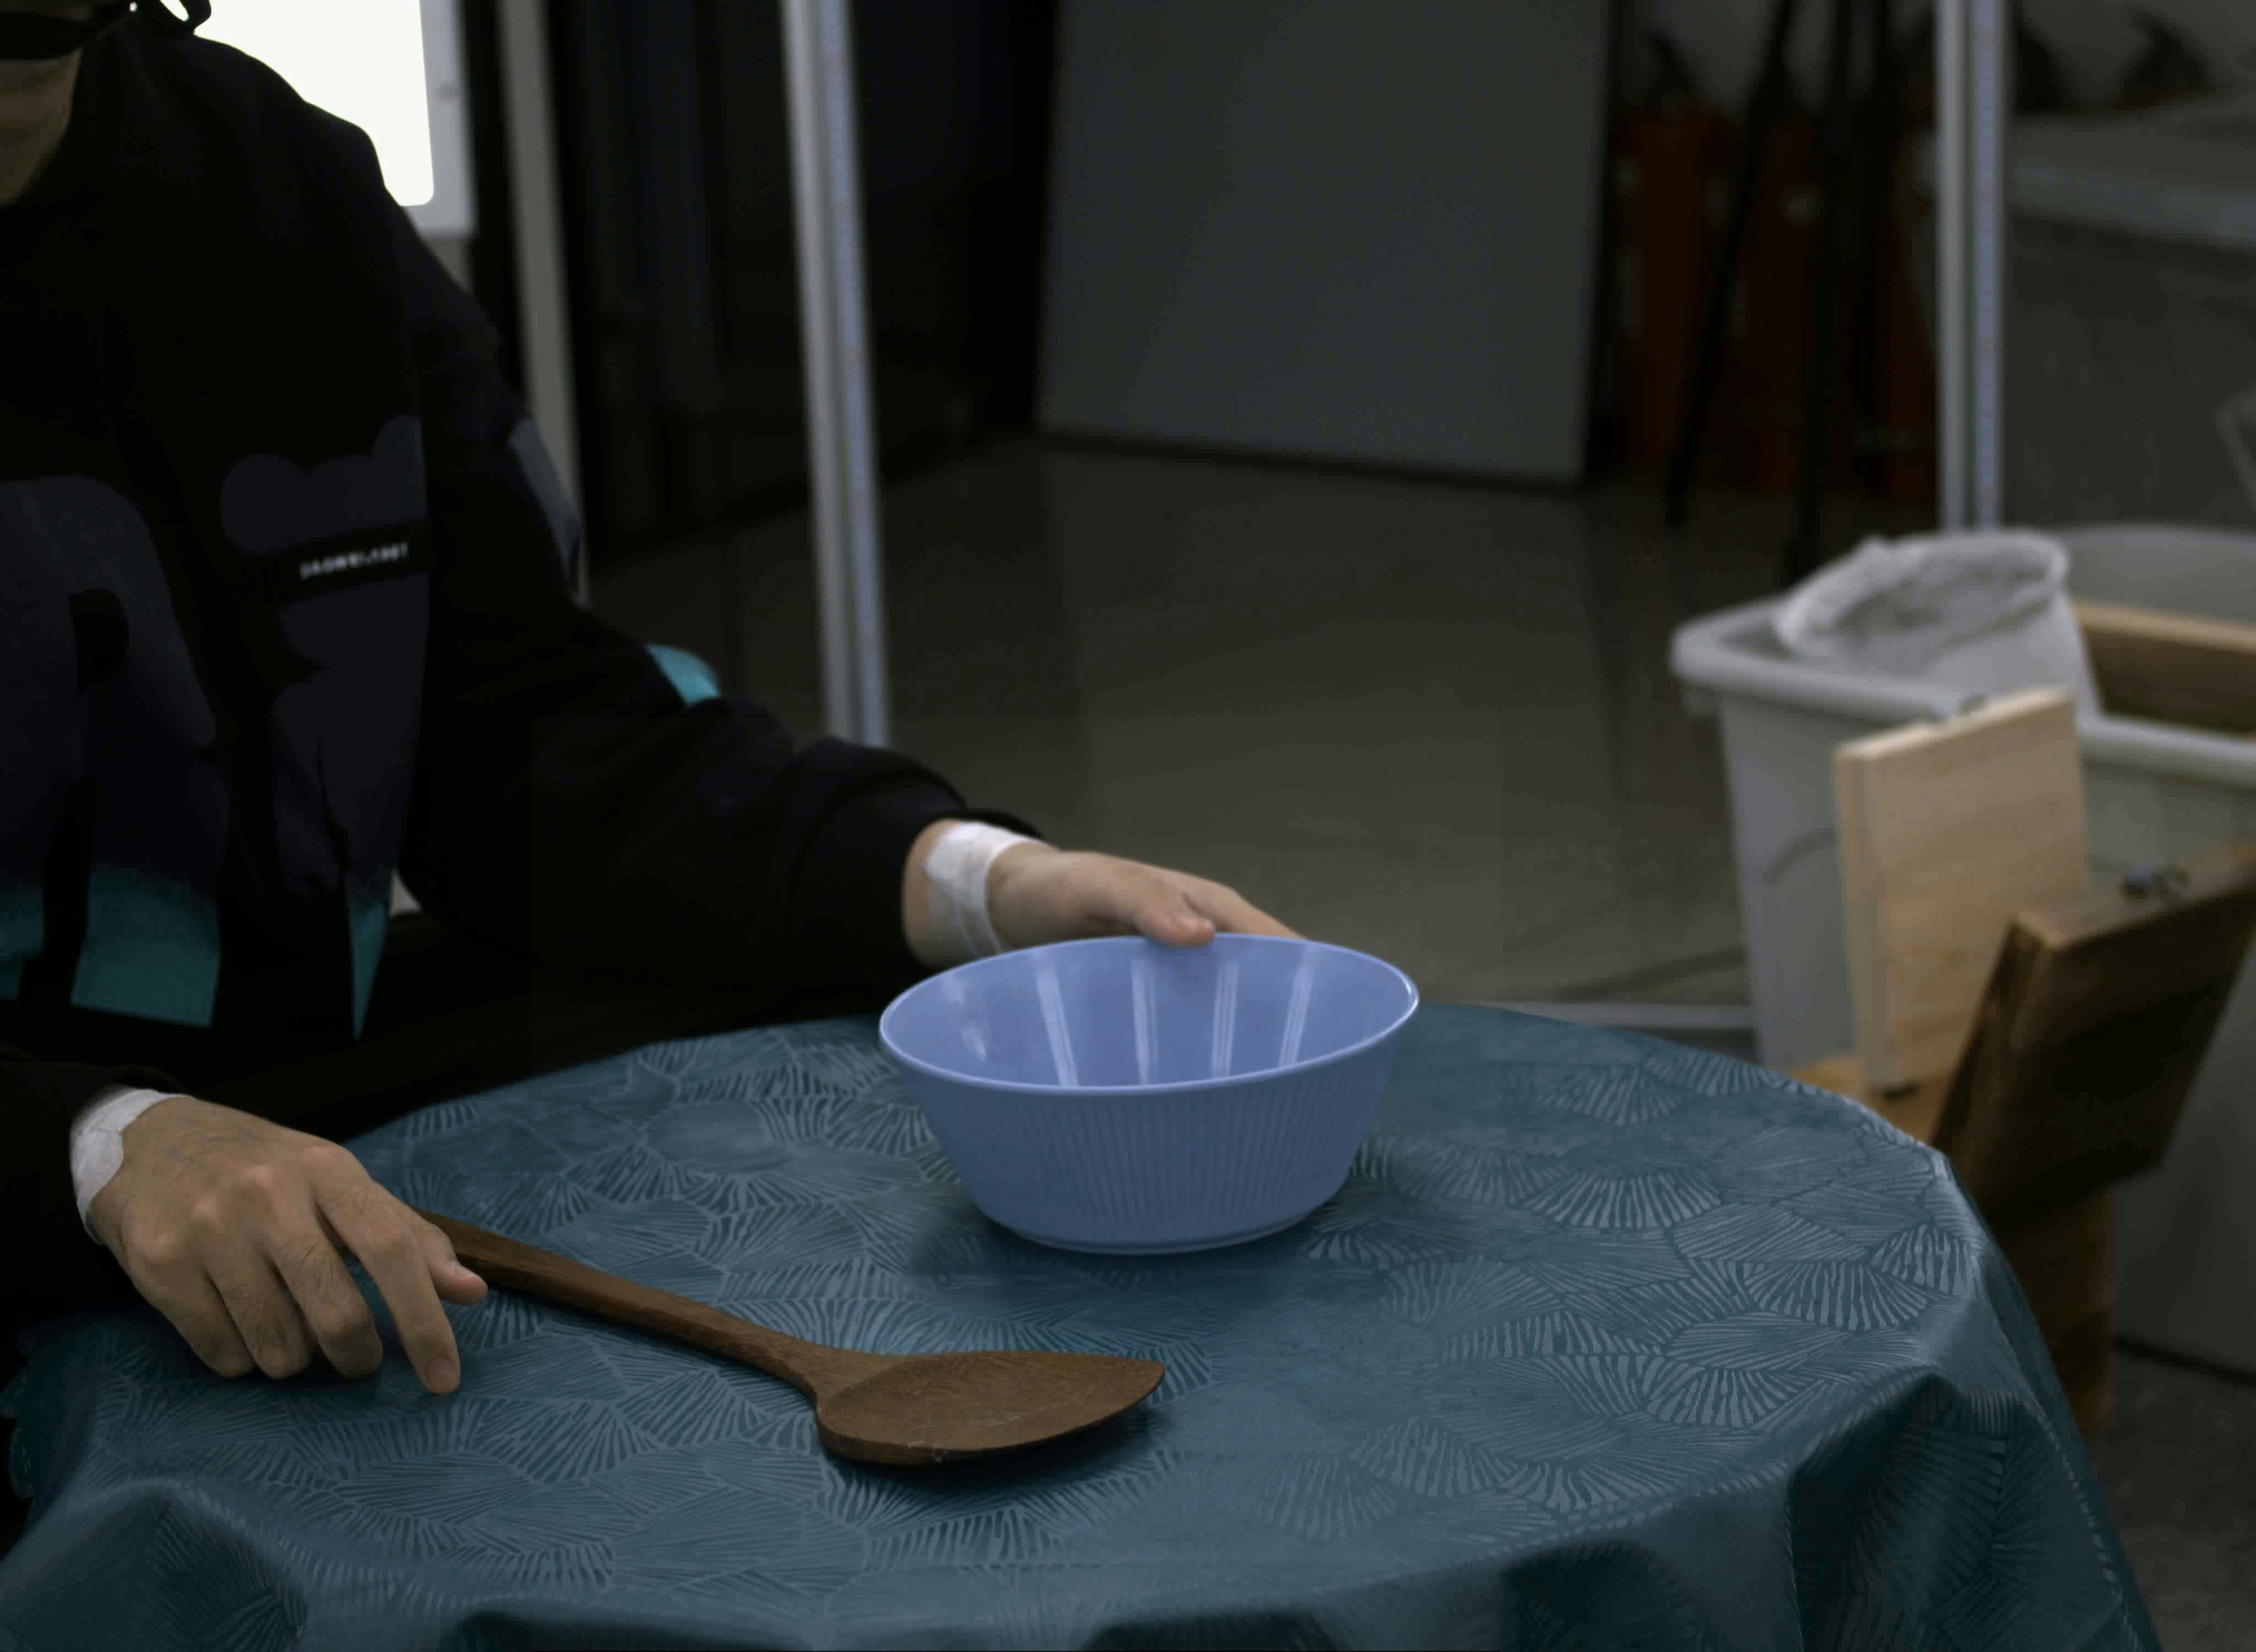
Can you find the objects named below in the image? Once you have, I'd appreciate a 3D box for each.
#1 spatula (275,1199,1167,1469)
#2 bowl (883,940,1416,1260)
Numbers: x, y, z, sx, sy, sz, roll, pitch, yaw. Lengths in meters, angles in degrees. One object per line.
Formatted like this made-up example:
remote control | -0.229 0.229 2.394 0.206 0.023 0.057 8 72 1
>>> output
spatula | -0.145 0.151 1.665 0.094 0.016 0.389 -16 18 -42
bowl | 0.009 0.091 1.747 0.174 0.071 0.176 -5 13 0
